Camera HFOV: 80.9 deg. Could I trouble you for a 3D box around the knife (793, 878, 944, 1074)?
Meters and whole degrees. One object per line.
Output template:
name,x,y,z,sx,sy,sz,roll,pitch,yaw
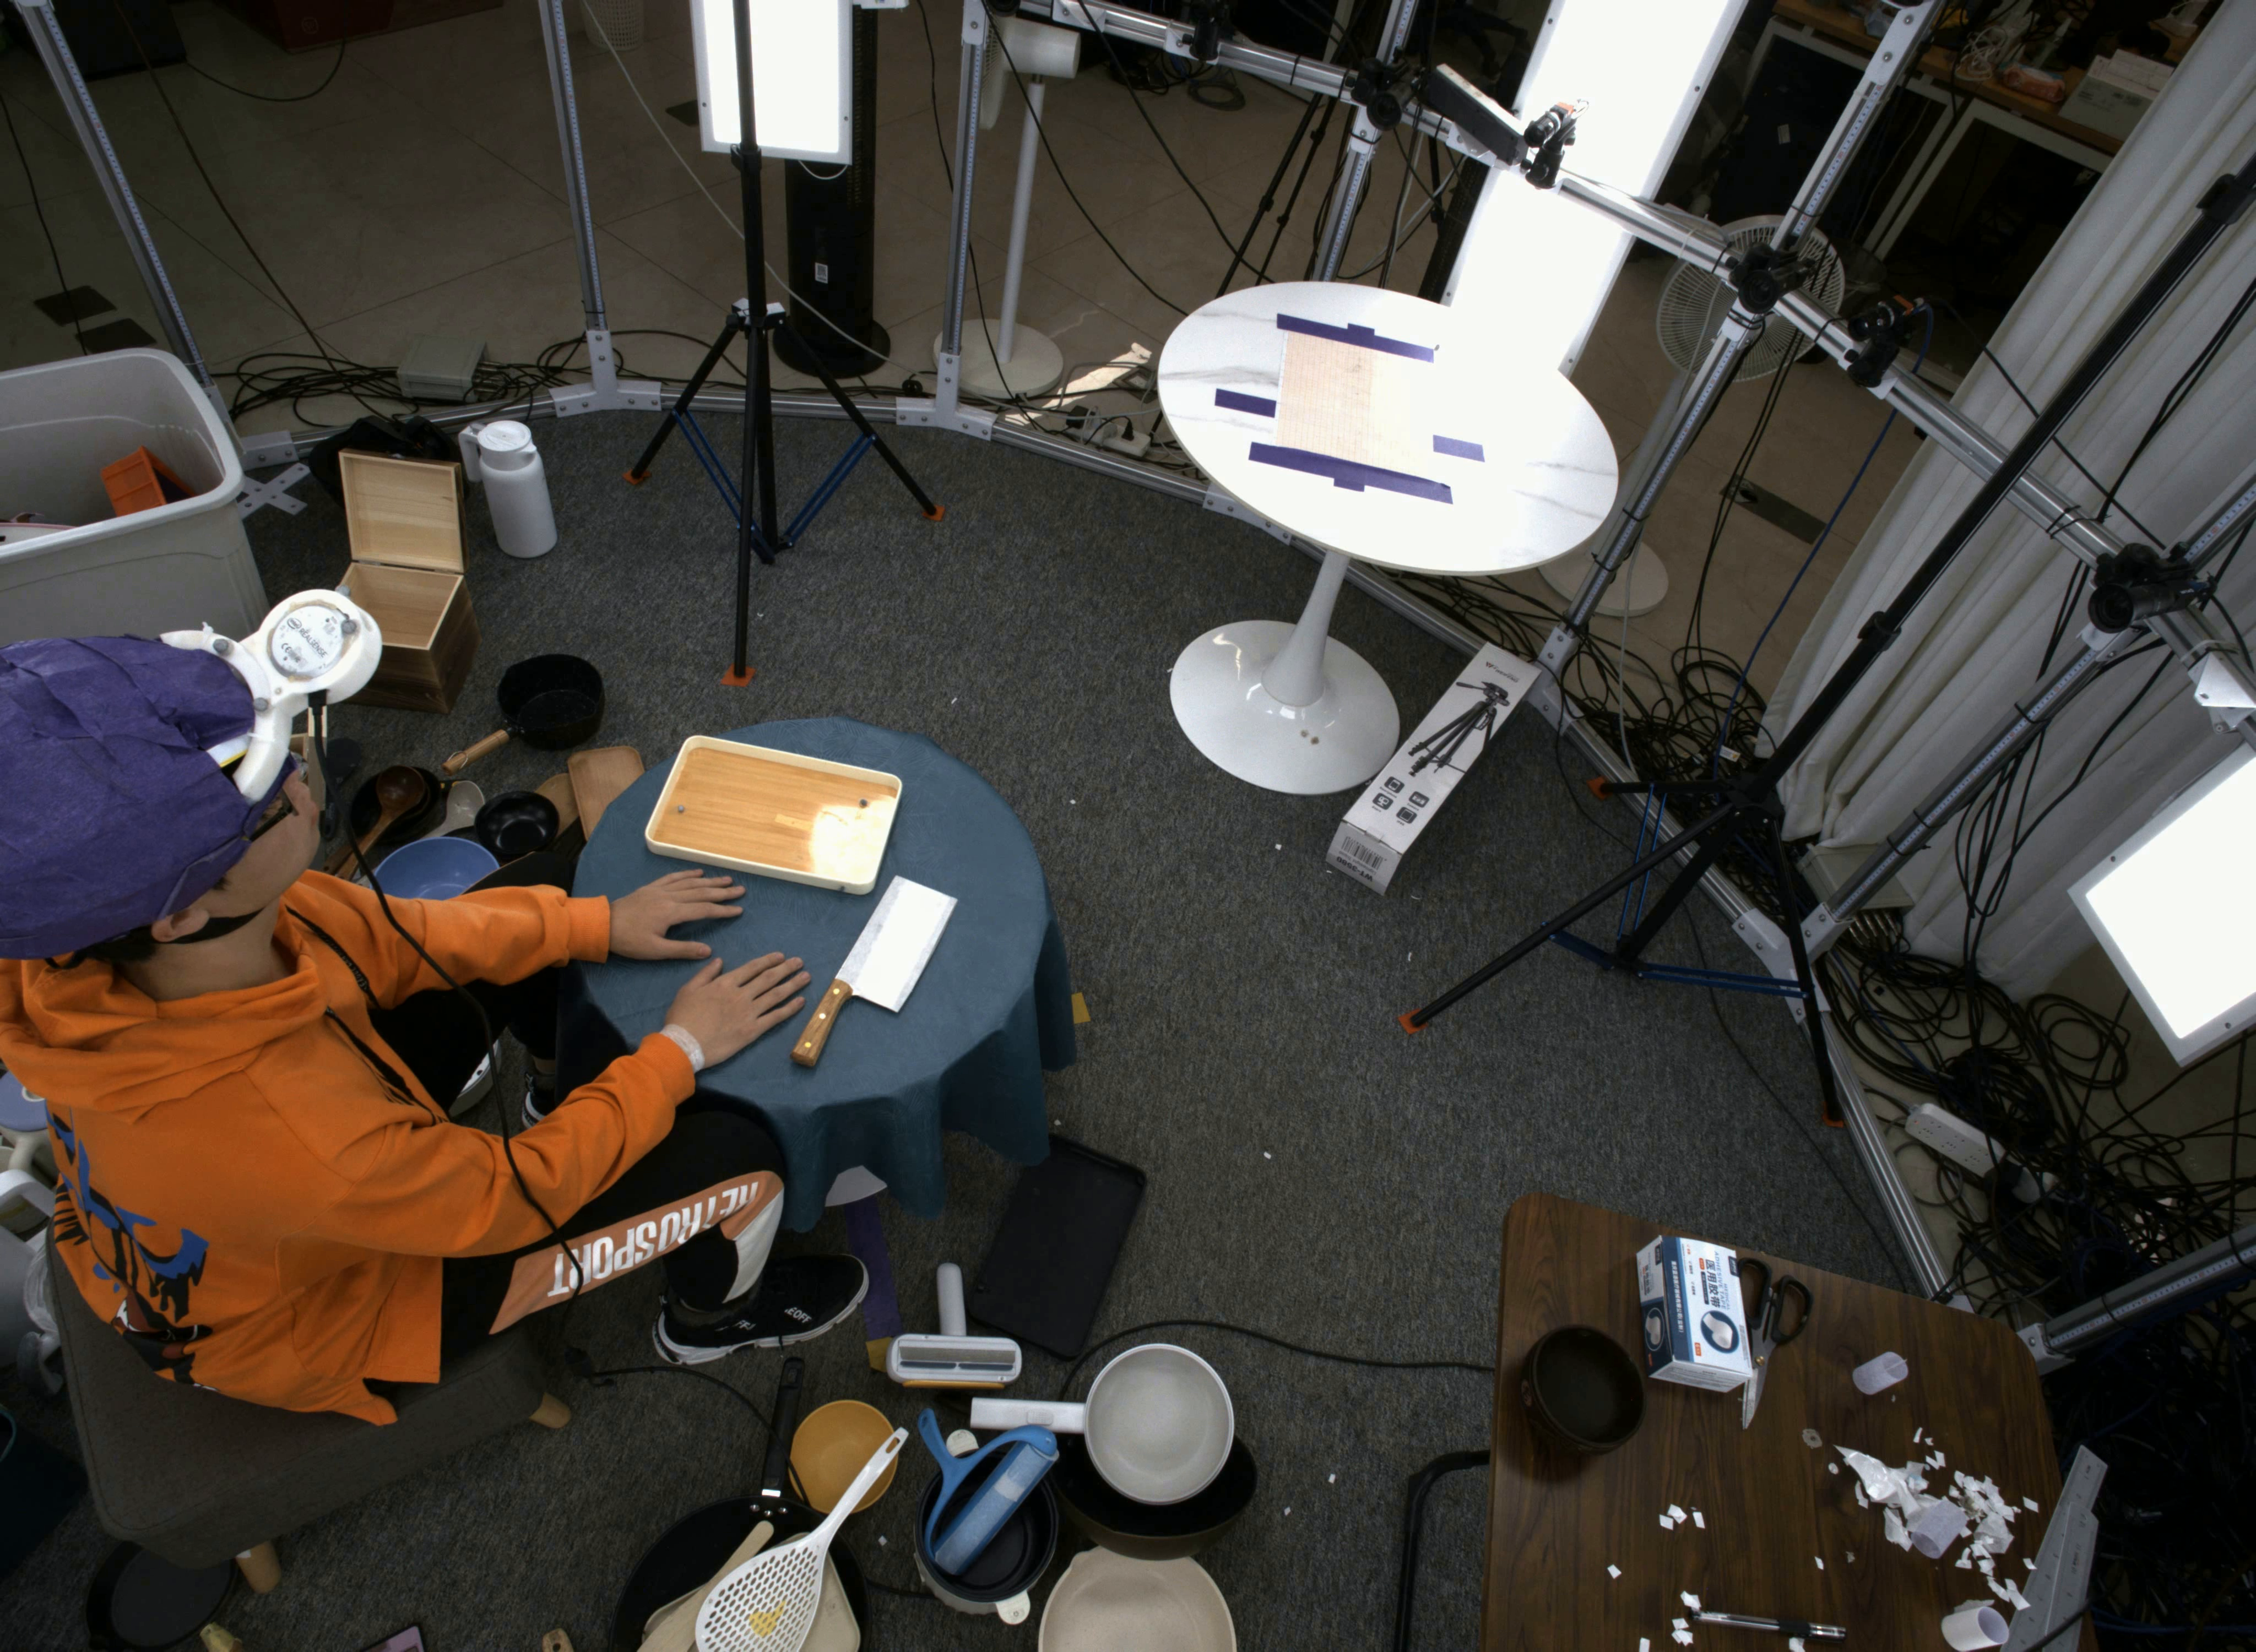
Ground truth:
knife,-0.309,0.183,1.598,0.092,0.021,0.302,22,49,1

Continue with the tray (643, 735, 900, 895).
tray,-0.463,-0.017,1.699,0.299,0.028,0.188,12,52,-6
